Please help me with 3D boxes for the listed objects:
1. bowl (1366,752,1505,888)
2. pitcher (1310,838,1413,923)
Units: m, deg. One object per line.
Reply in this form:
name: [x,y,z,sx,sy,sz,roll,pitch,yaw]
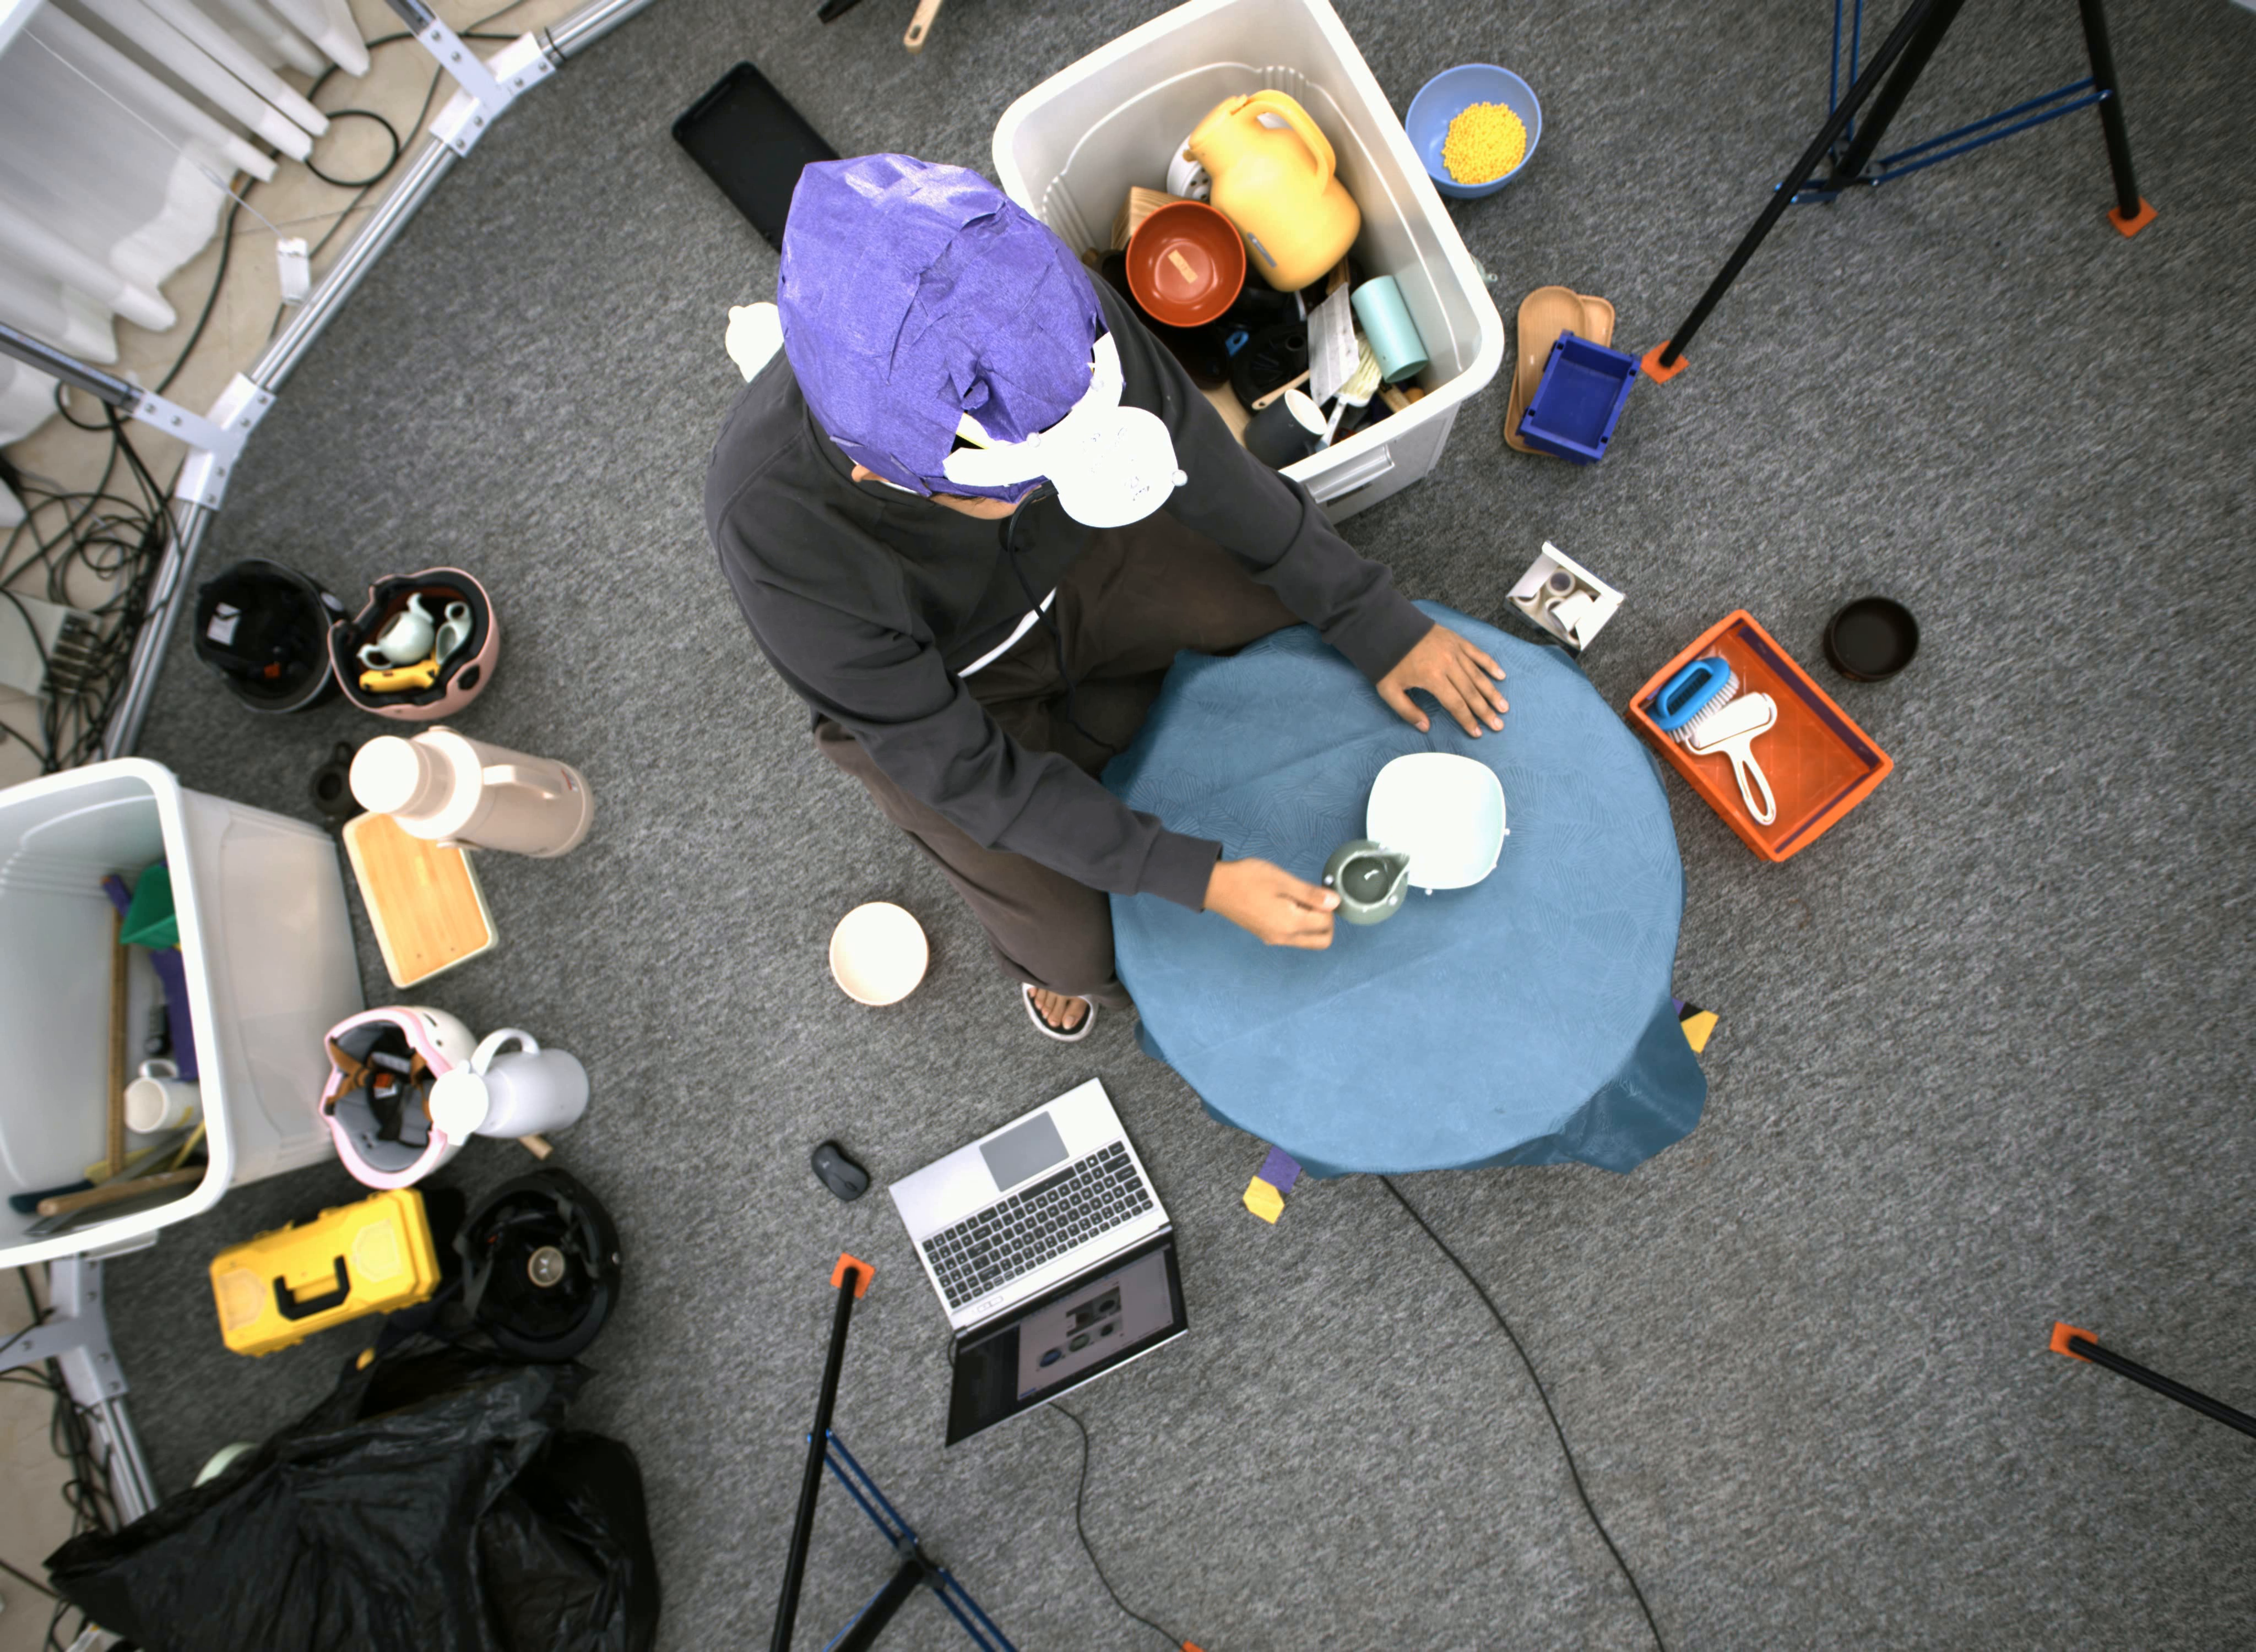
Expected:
bowl: [0.317,-0.006,1.428,0.152,0.058,0.151,-1,87,9]
pitcher: [0.228,0.054,1.353,0.113,0.056,0.083,-32,80,2]
